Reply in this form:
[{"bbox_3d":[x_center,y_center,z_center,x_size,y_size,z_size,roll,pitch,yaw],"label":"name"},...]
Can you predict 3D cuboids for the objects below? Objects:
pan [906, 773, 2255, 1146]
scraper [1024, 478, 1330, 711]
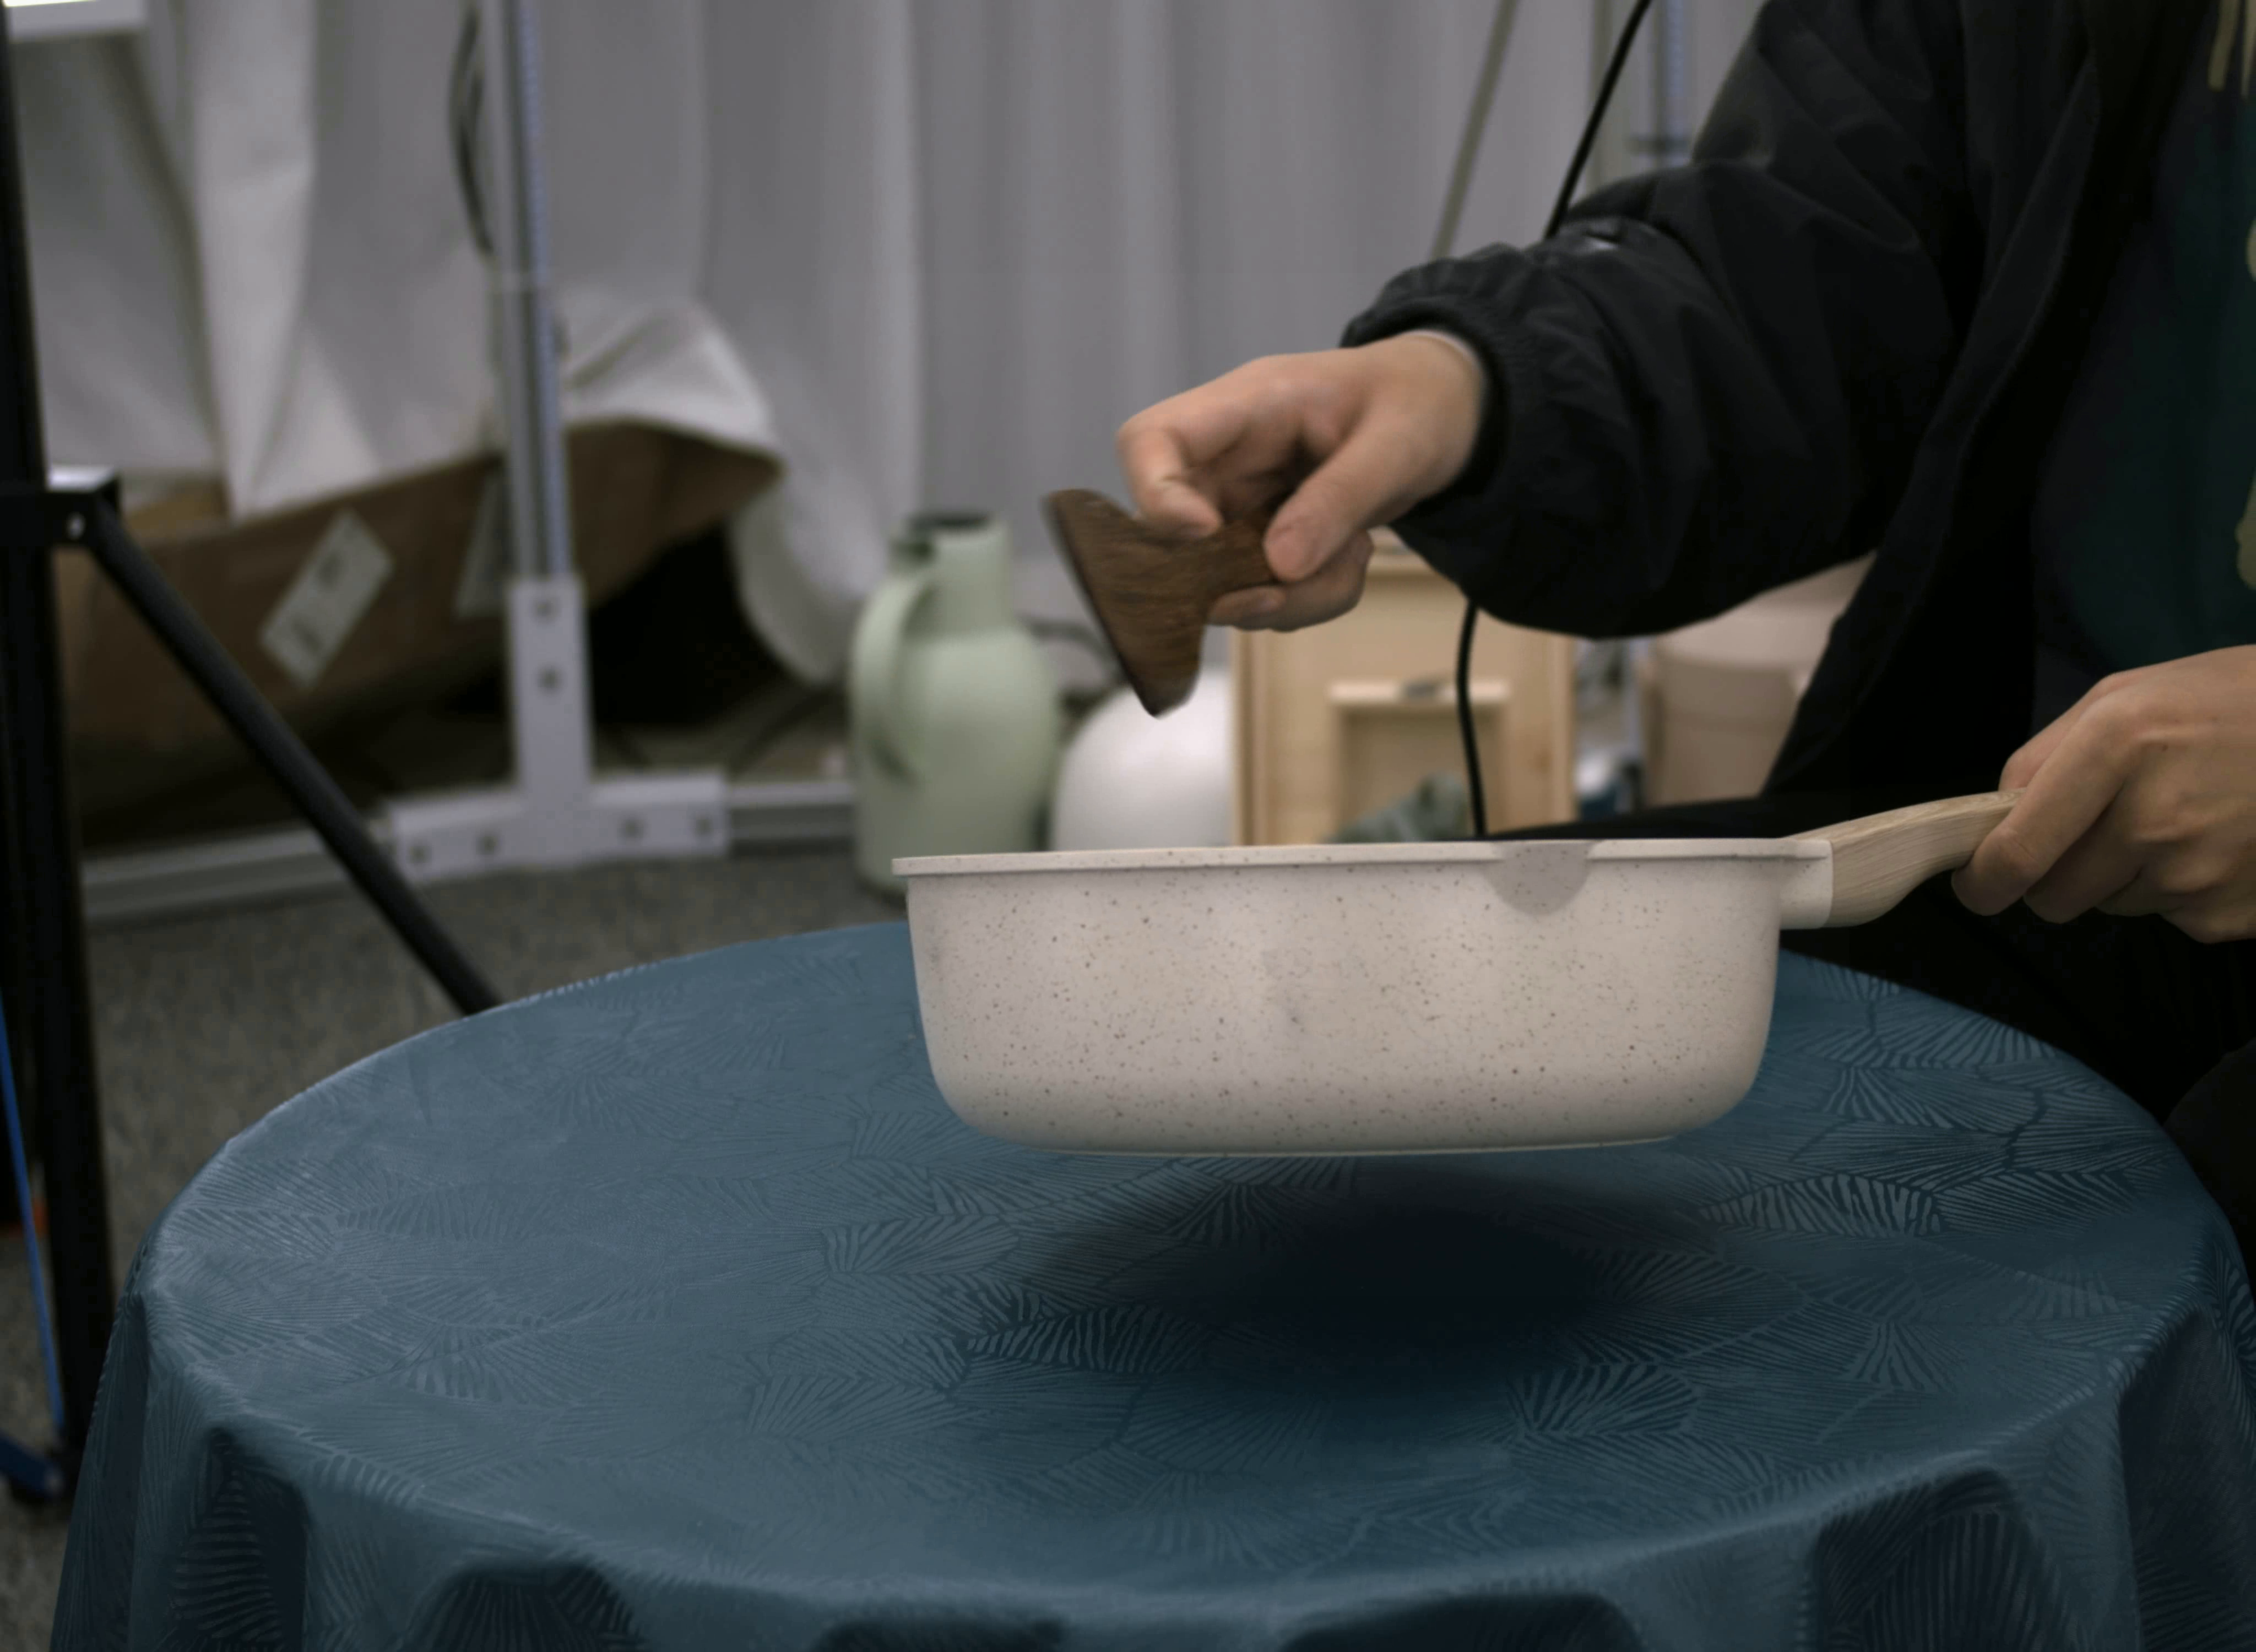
[{"bbox_3d":[0.148,0.038,1.496,0.426,0.102,0.267,0,-3,-22],"label":"pan"},{"bbox_3d":[0.021,-0.079,1.627,0.011,0.076,0.208,-32,-4,23],"label":"scraper"}]
